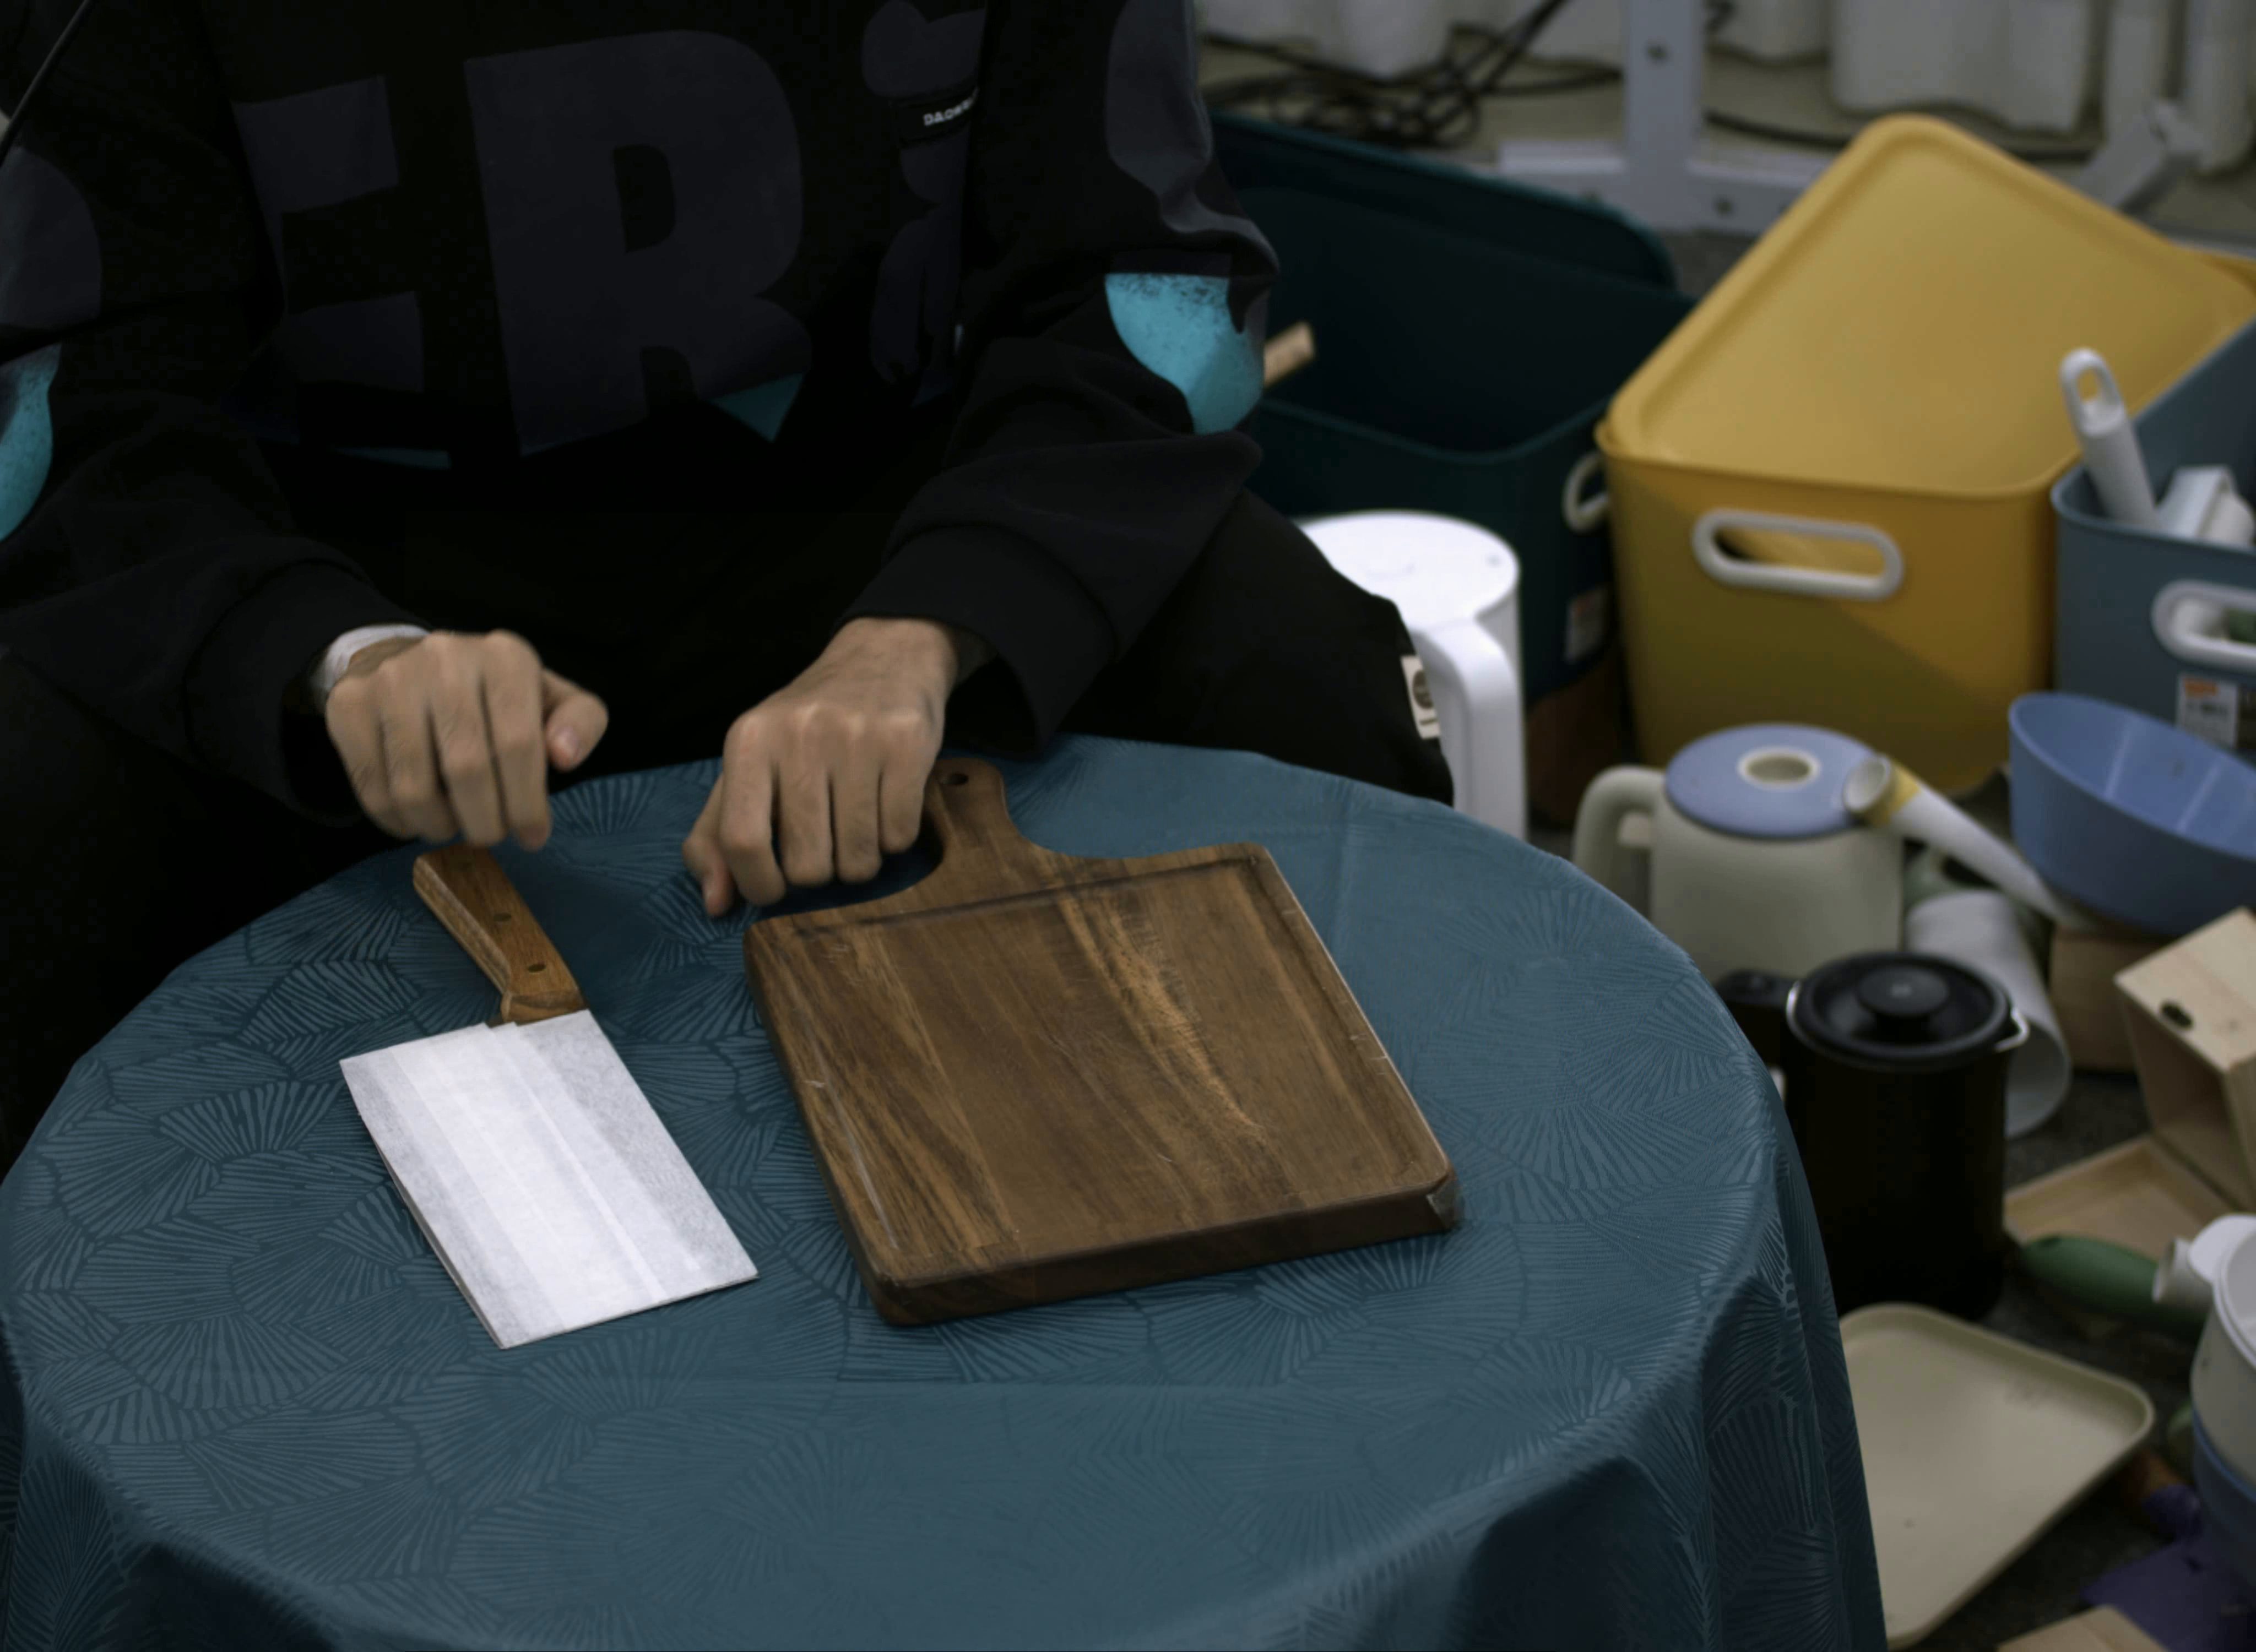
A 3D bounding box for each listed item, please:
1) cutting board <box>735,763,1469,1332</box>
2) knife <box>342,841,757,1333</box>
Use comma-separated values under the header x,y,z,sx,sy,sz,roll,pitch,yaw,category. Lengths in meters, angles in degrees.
x,y,z,sx,sy,sz,roll,pitch,yaw,category
-0.026,0.062,1.957,0.201,0.023,0.356,-9,28,-12,cutting board
-0.217,0.089,1.931,0.093,0.021,0.308,-15,32,-18,knife
